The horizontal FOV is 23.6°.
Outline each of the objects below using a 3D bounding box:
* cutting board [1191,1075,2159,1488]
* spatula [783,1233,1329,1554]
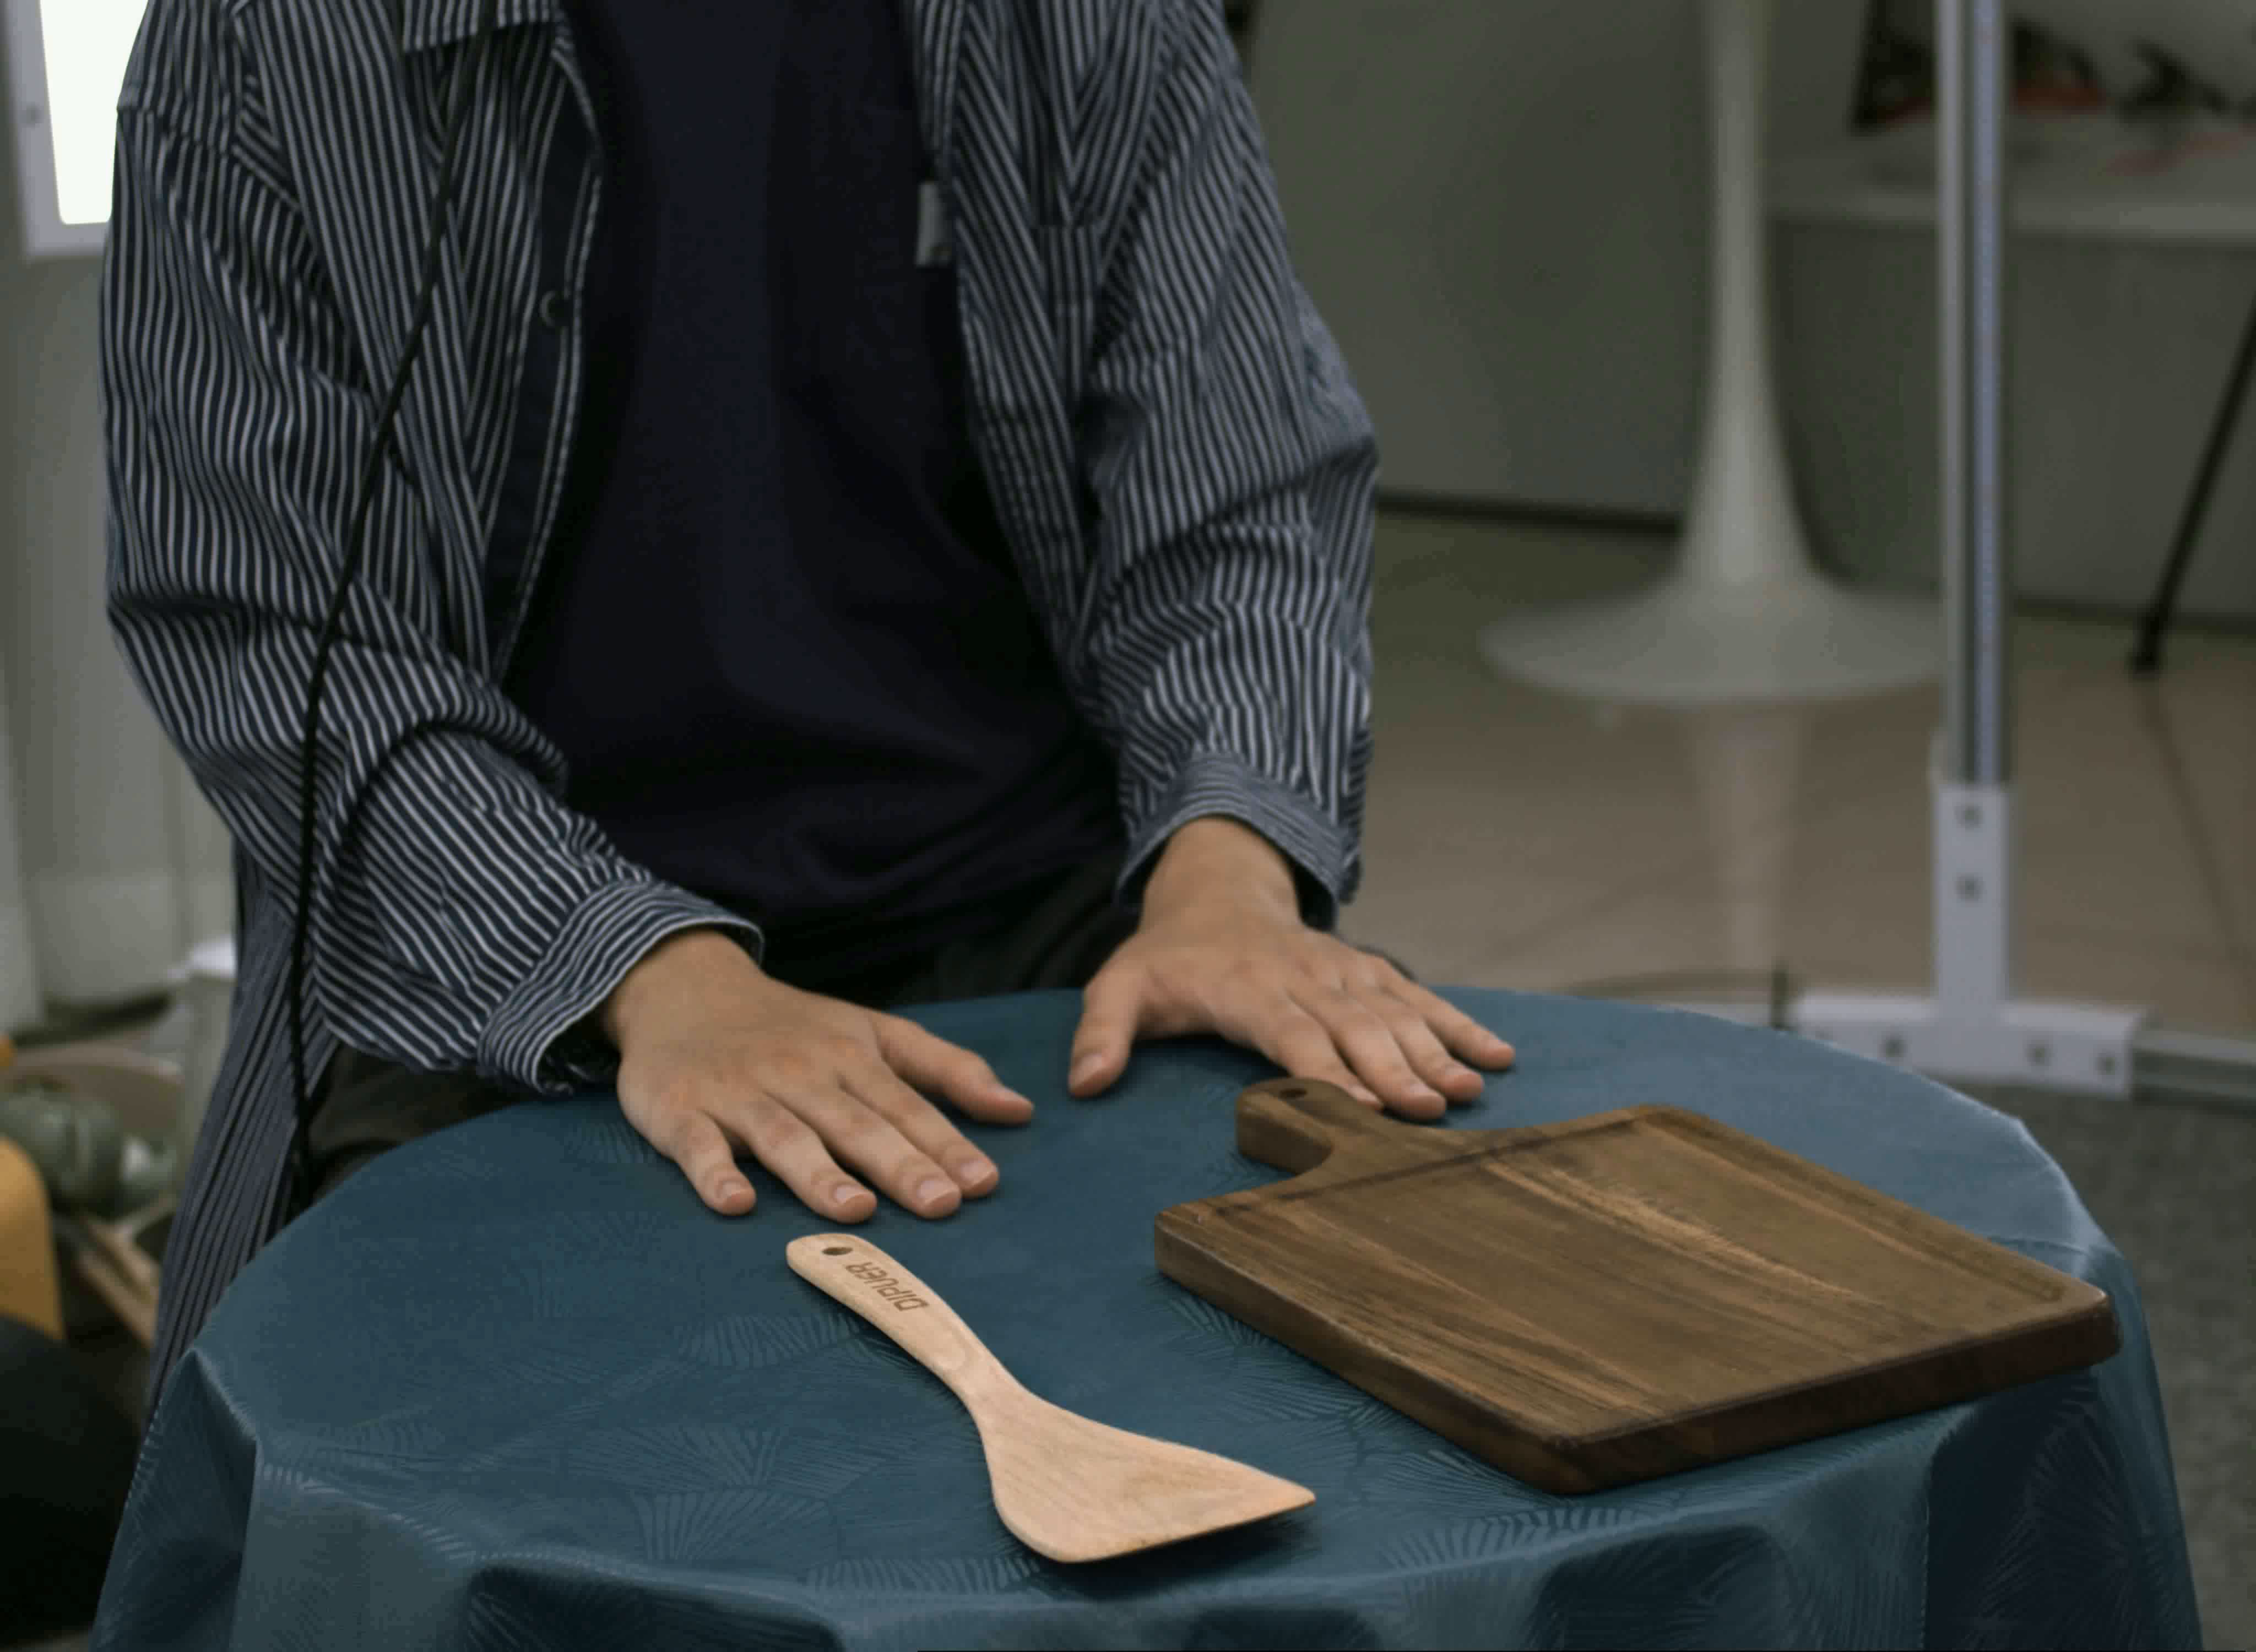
[{"bbox_3d":[0.137,0.126,1.663,0.197,0.023,0.356,-10,15,-24],"label":"cutting board"},{"bbox_3d":[-0.037,0.161,1.581,0.078,0.017,0.331,-9,14,-21],"label":"spatula"}]
